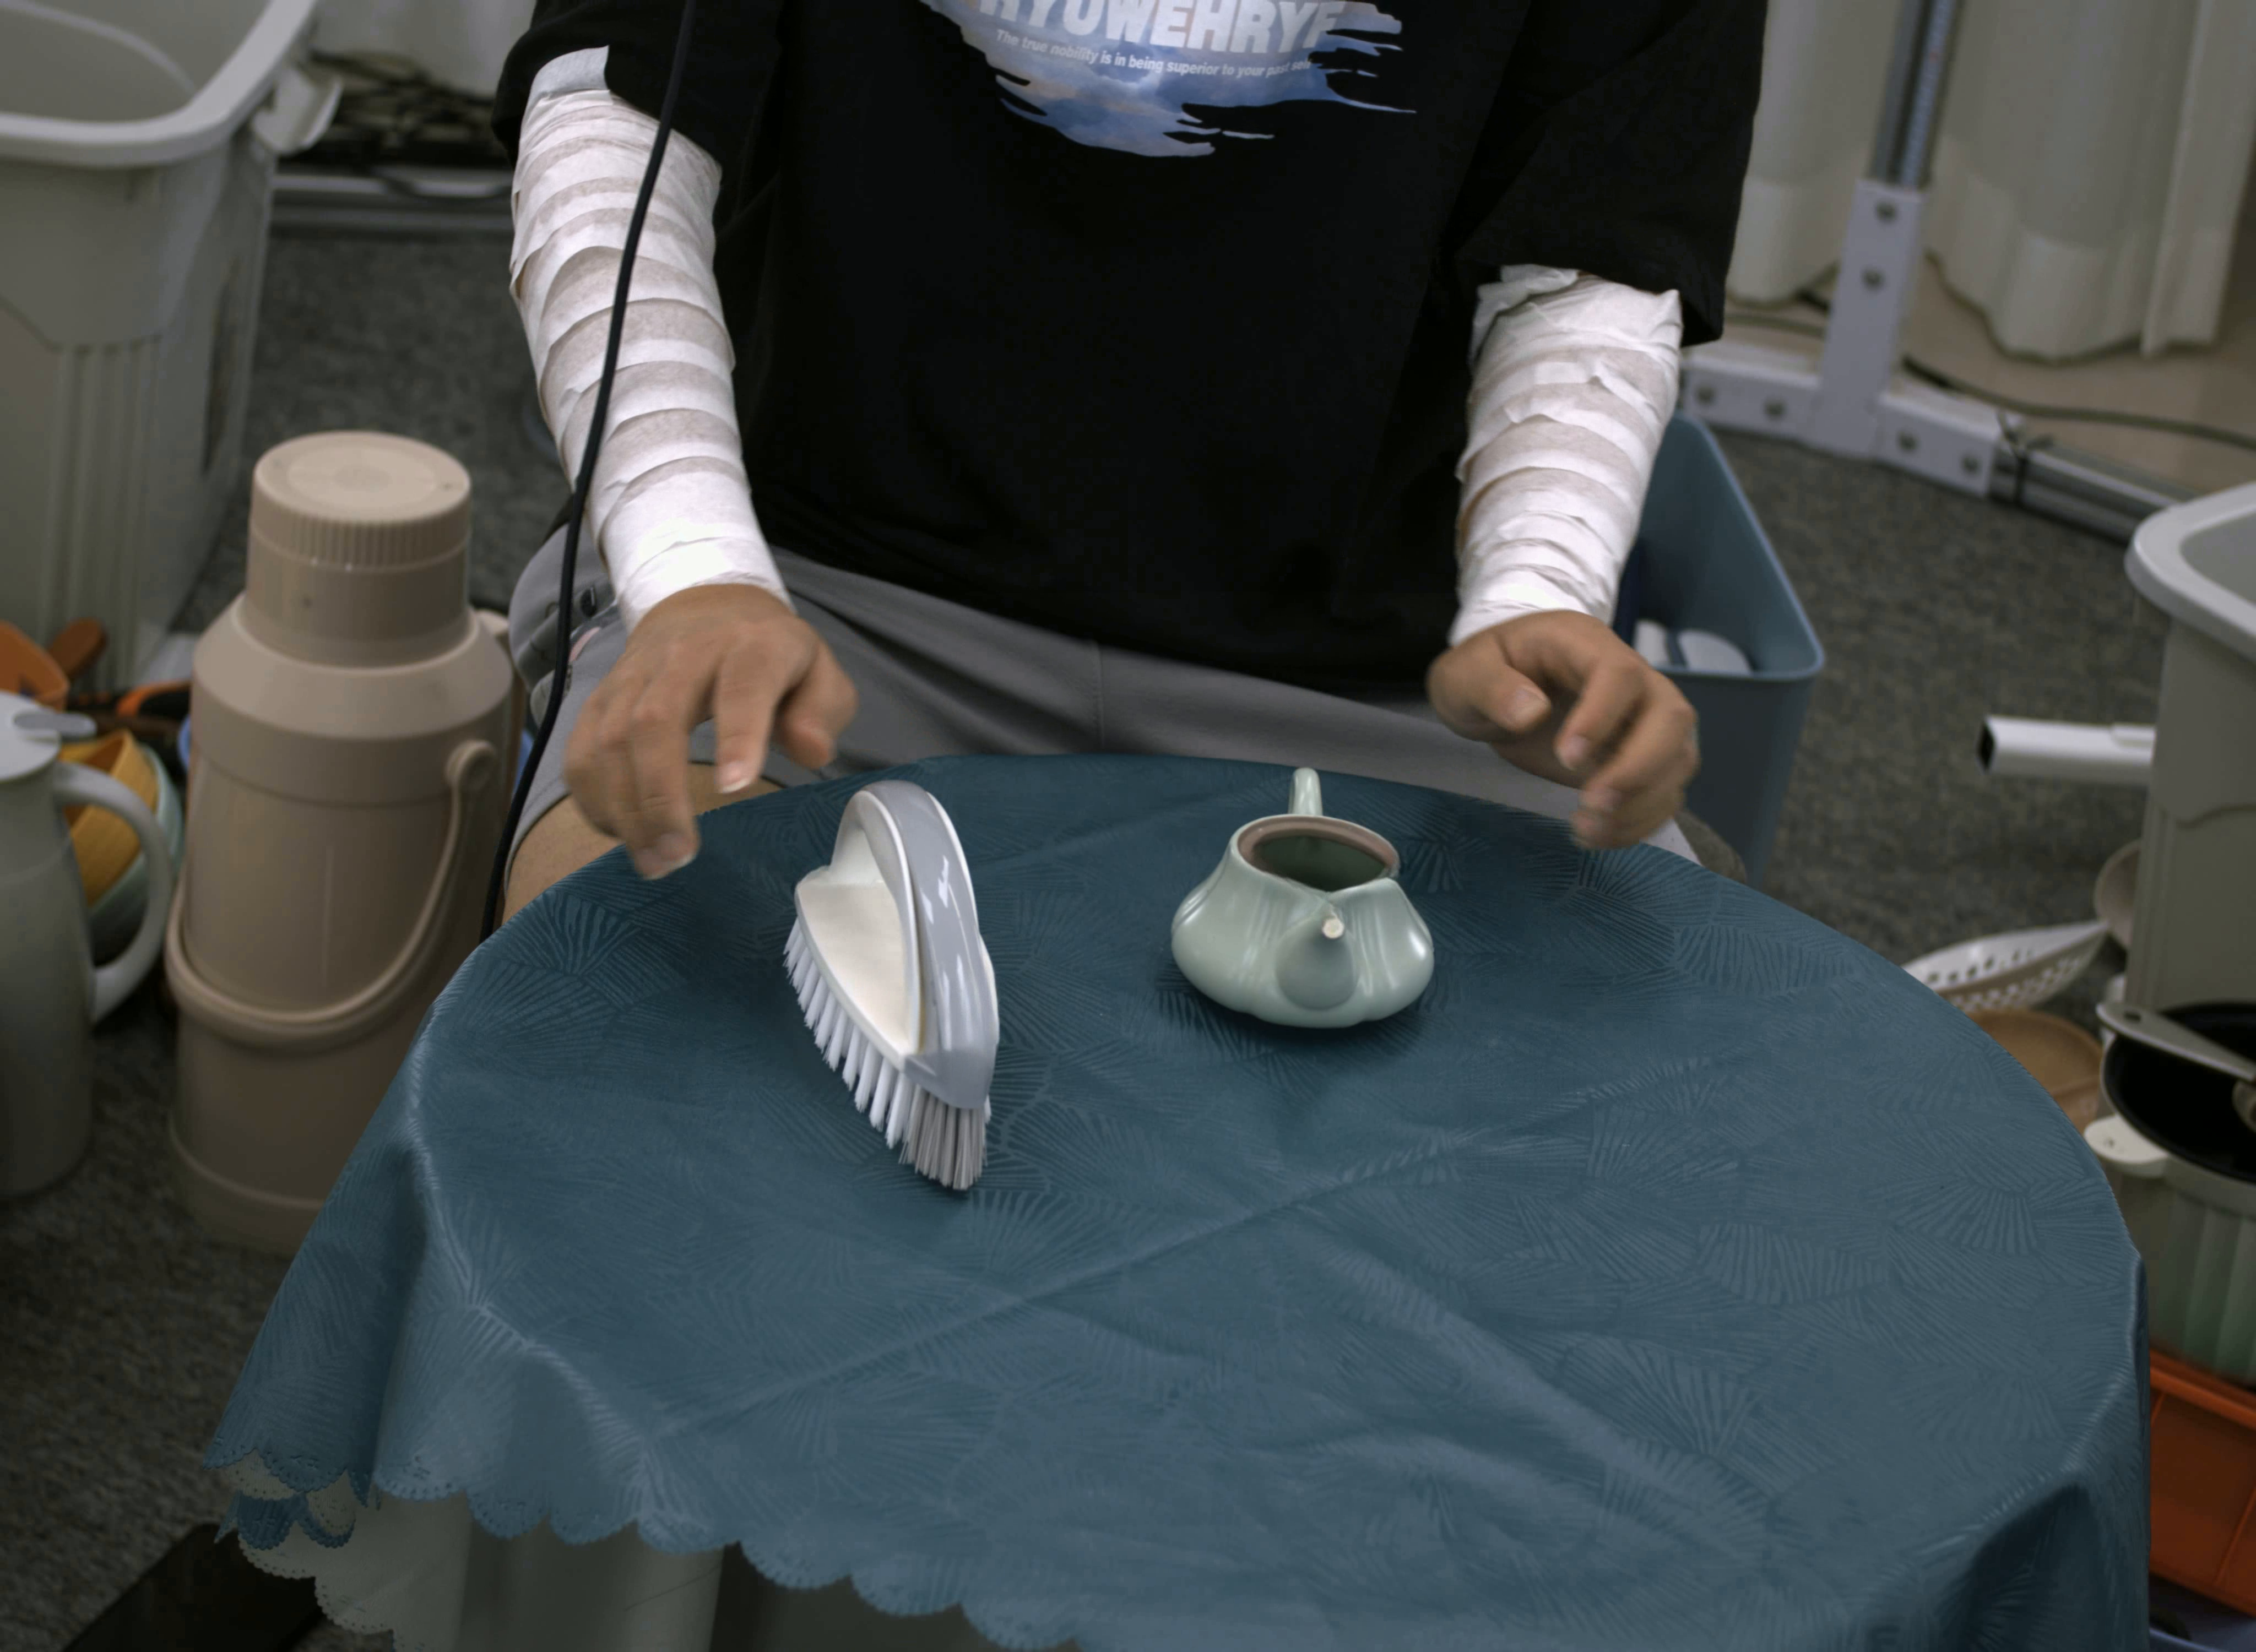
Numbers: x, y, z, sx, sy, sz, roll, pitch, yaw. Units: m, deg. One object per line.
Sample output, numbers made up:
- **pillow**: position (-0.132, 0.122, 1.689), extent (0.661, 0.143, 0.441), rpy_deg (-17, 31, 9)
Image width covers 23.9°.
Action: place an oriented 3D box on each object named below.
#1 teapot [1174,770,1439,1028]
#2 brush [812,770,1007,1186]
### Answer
- **teapot**: position (0.065, 0.031, 1.935), extent (0.096, 0.061, 0.138), rpy_deg (1, 27, -6)
- **brush**: position (-0.070, 0.045, 1.844), extent (0.061, 0.094, 0.177), rpy_deg (-4, 30, -13)
